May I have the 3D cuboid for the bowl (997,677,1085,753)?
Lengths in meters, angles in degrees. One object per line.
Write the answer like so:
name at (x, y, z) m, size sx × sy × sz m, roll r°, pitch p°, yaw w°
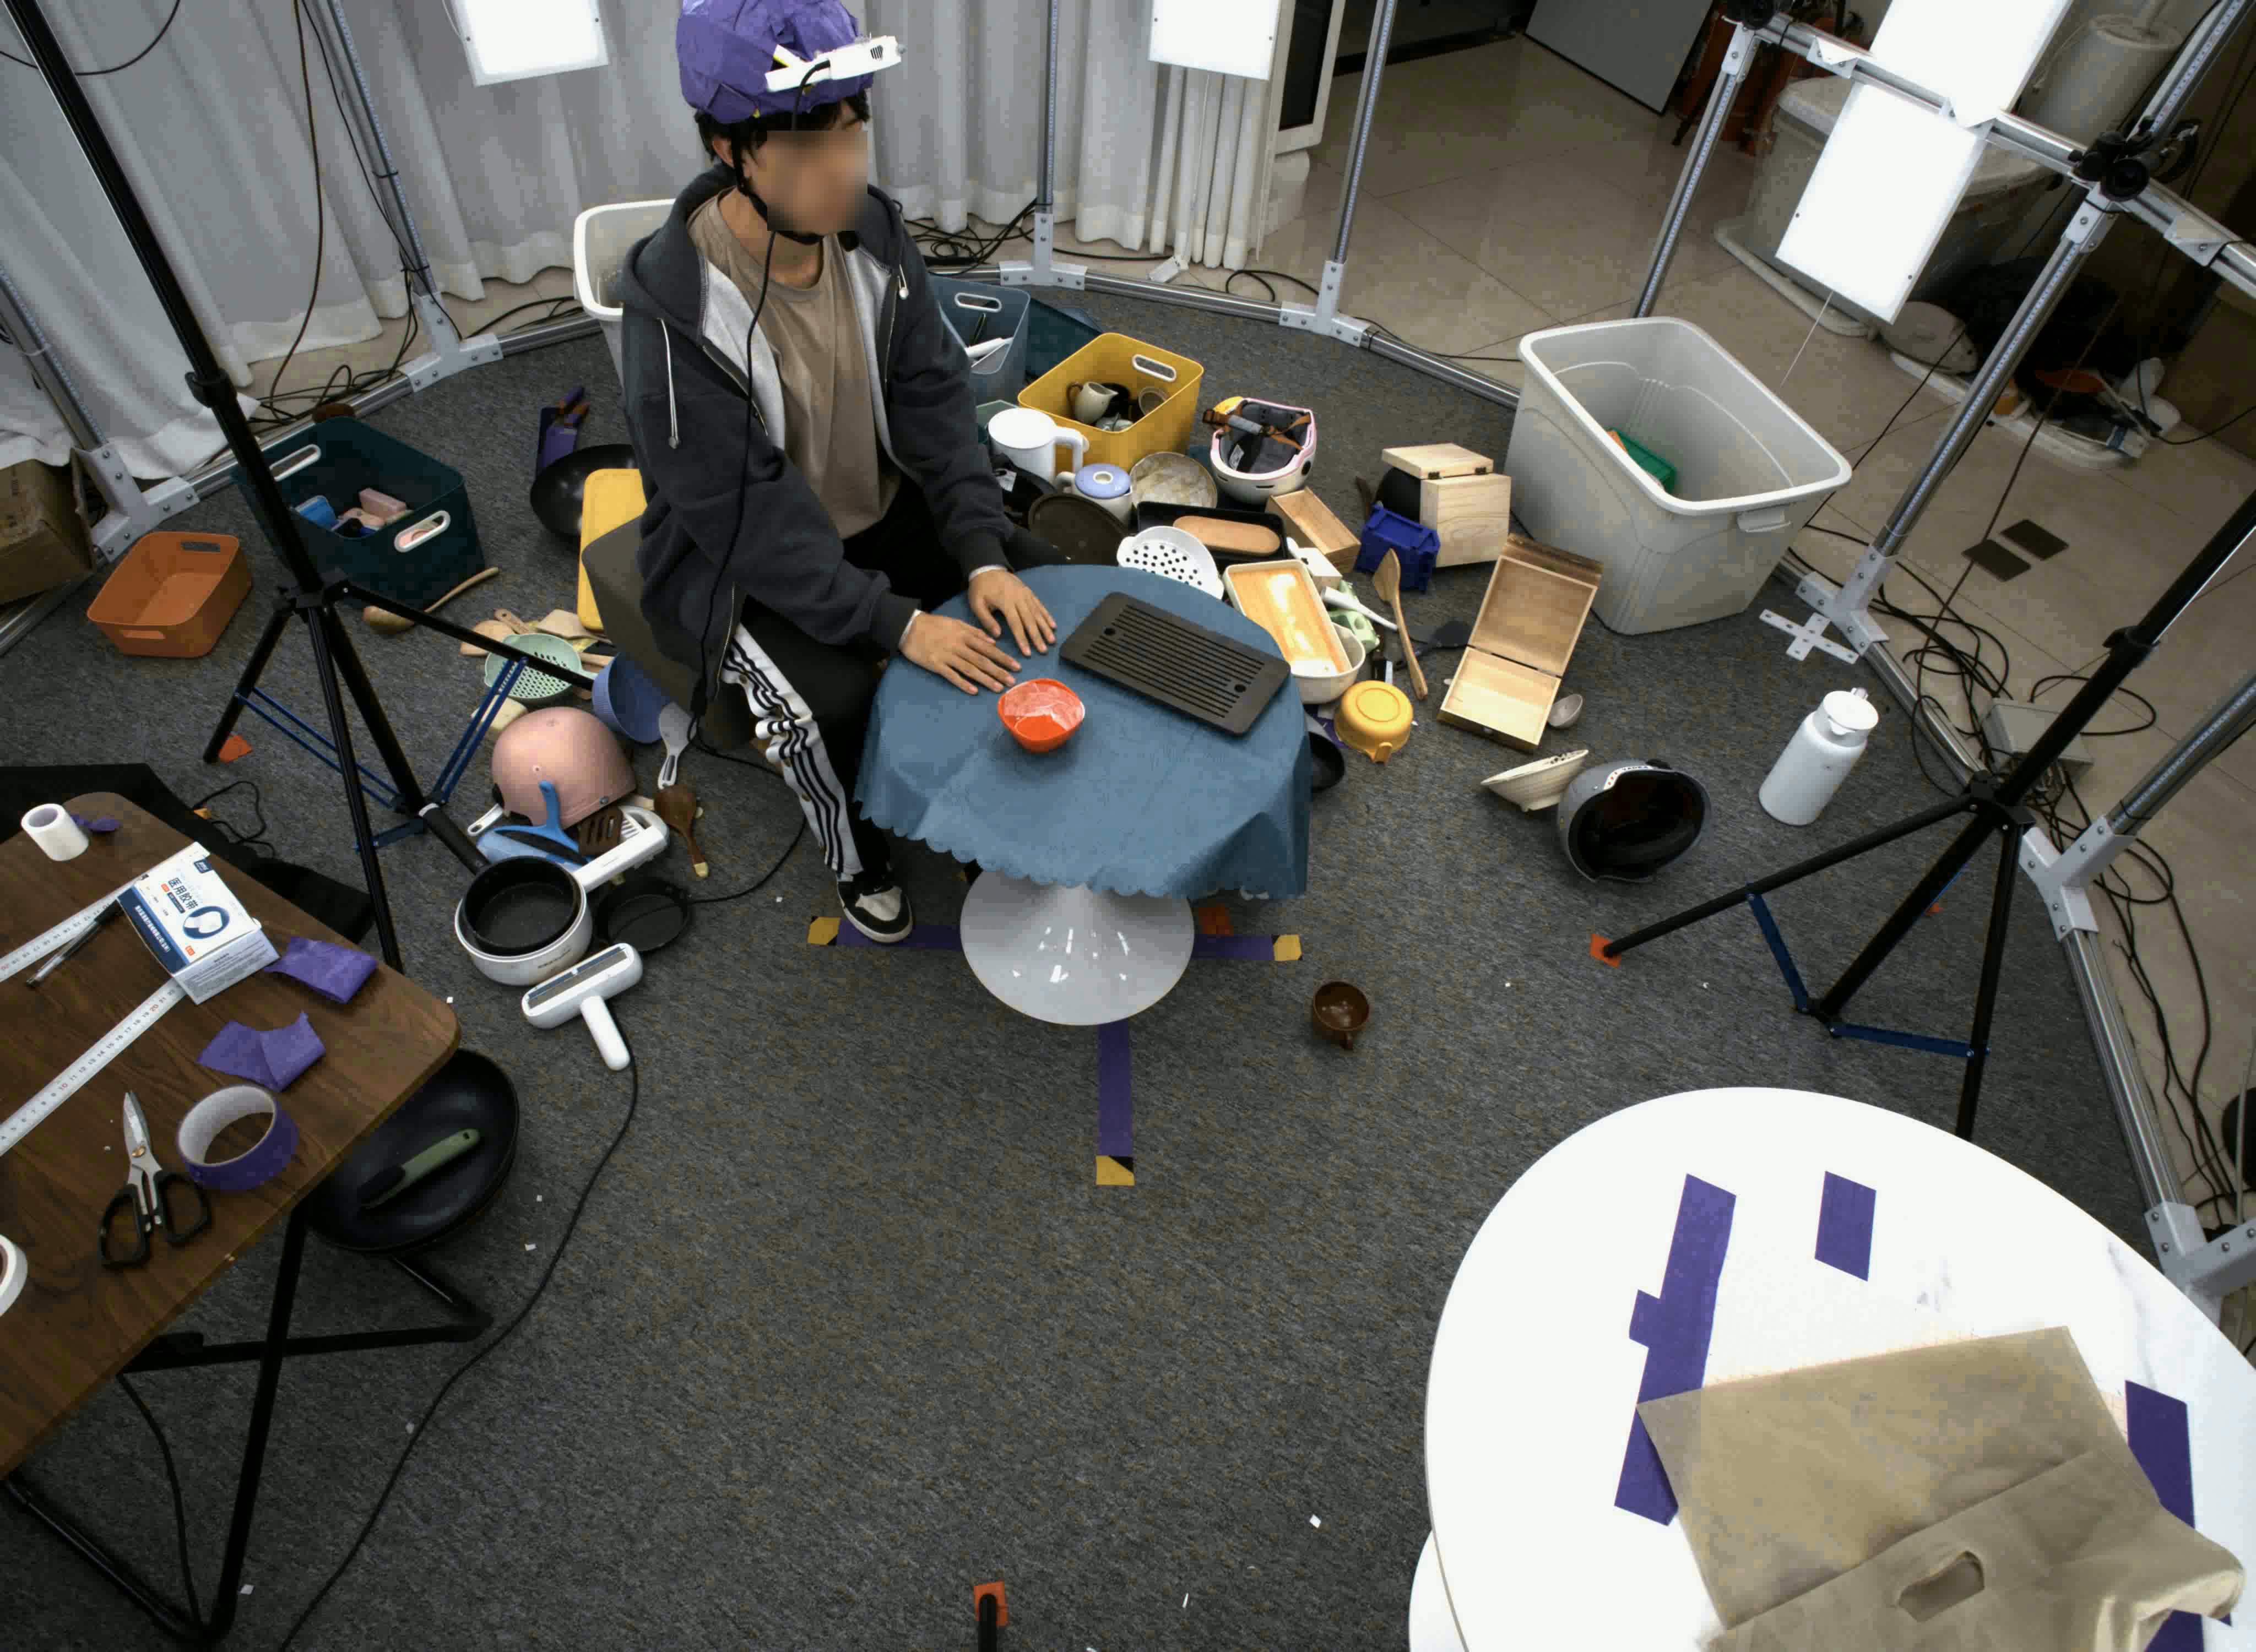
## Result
bowl at (-0.119, -0.145, 1.749) m, size 0.119 × 0.050 × 0.122 m, roll 2°, pitch 50°, yaw -3°

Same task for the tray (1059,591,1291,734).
tray at (0.068, -0.240, 1.867) m, size 0.308 × 0.018 × 0.173 m, roll 25°, pitch 52°, yaw 18°
